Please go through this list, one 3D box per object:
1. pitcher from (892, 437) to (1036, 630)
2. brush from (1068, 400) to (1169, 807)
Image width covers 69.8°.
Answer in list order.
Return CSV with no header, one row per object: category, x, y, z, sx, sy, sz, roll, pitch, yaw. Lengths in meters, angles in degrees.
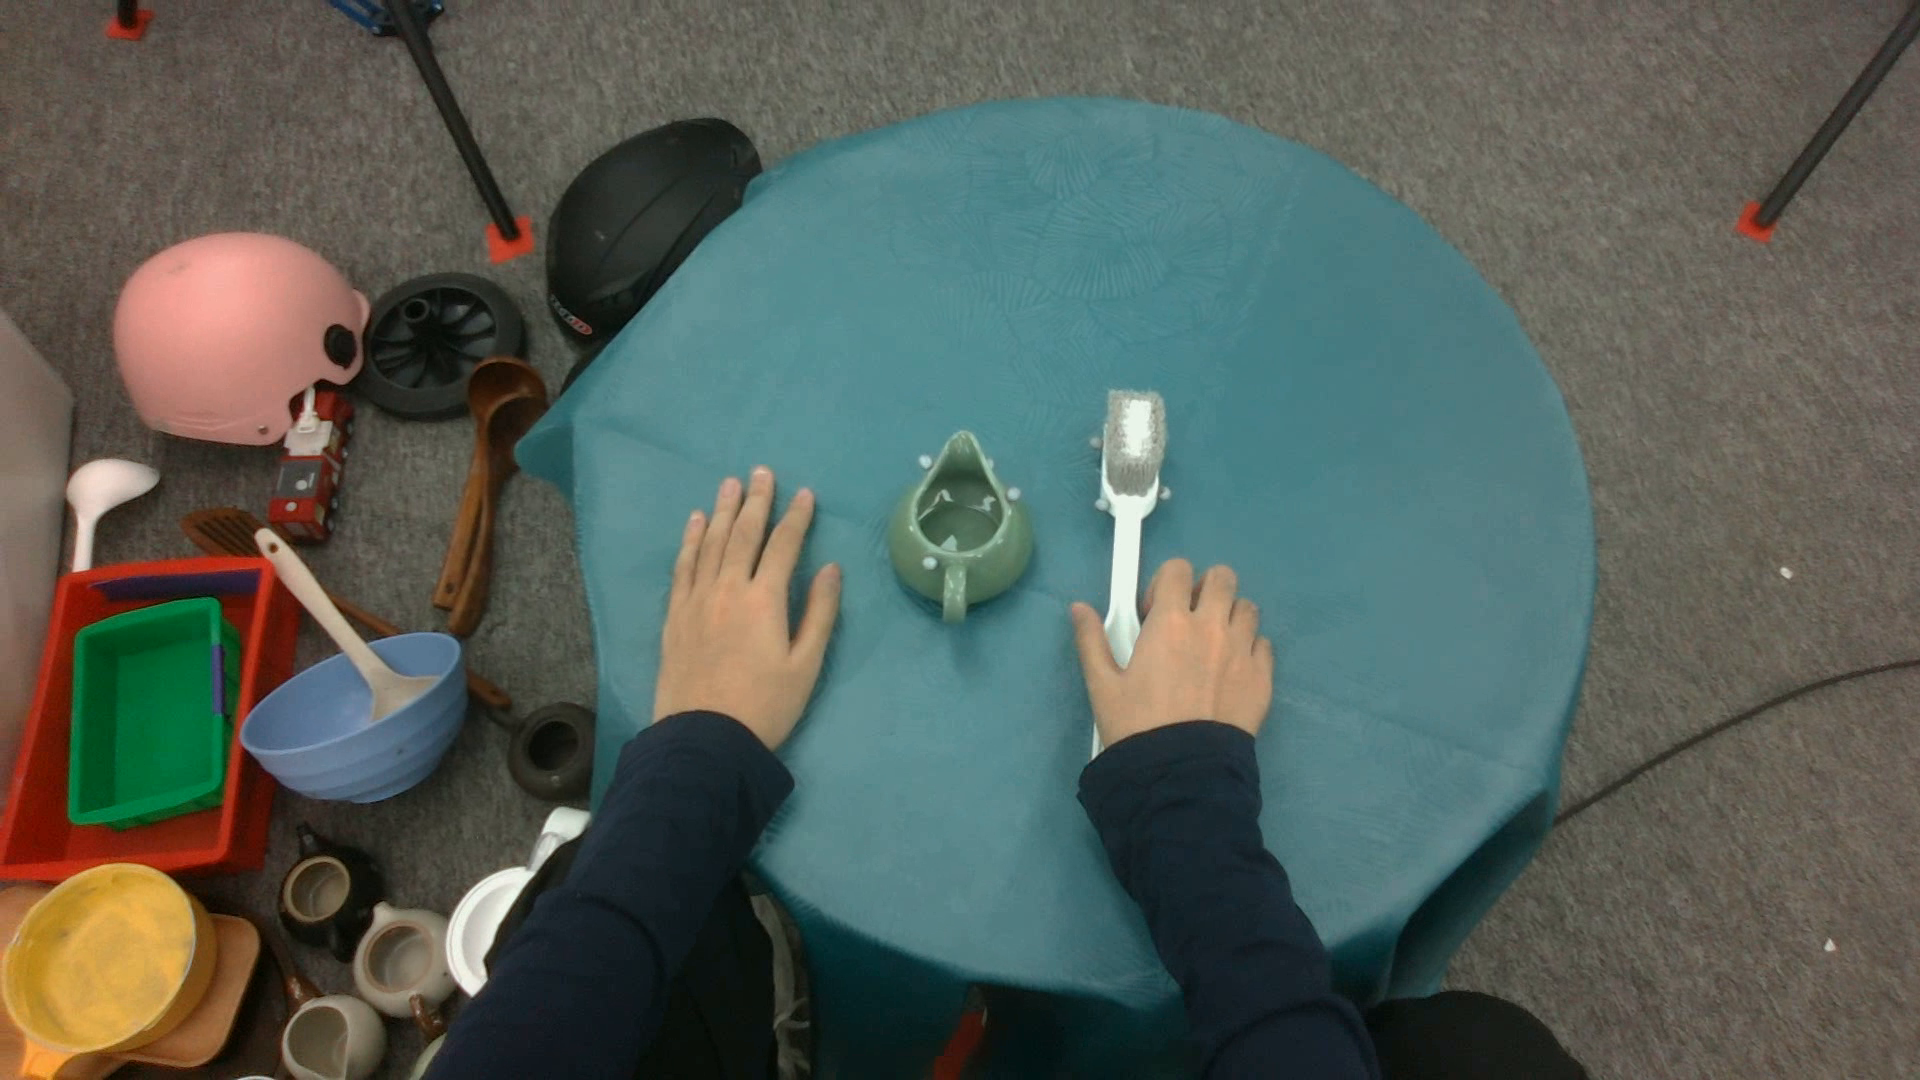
pitcher,0.002,0.003,0.788,0.084,0.056,0.113,-2,64,1
brush,0.089,0.028,0.778,0.034,0.050,0.244,10,63,0
